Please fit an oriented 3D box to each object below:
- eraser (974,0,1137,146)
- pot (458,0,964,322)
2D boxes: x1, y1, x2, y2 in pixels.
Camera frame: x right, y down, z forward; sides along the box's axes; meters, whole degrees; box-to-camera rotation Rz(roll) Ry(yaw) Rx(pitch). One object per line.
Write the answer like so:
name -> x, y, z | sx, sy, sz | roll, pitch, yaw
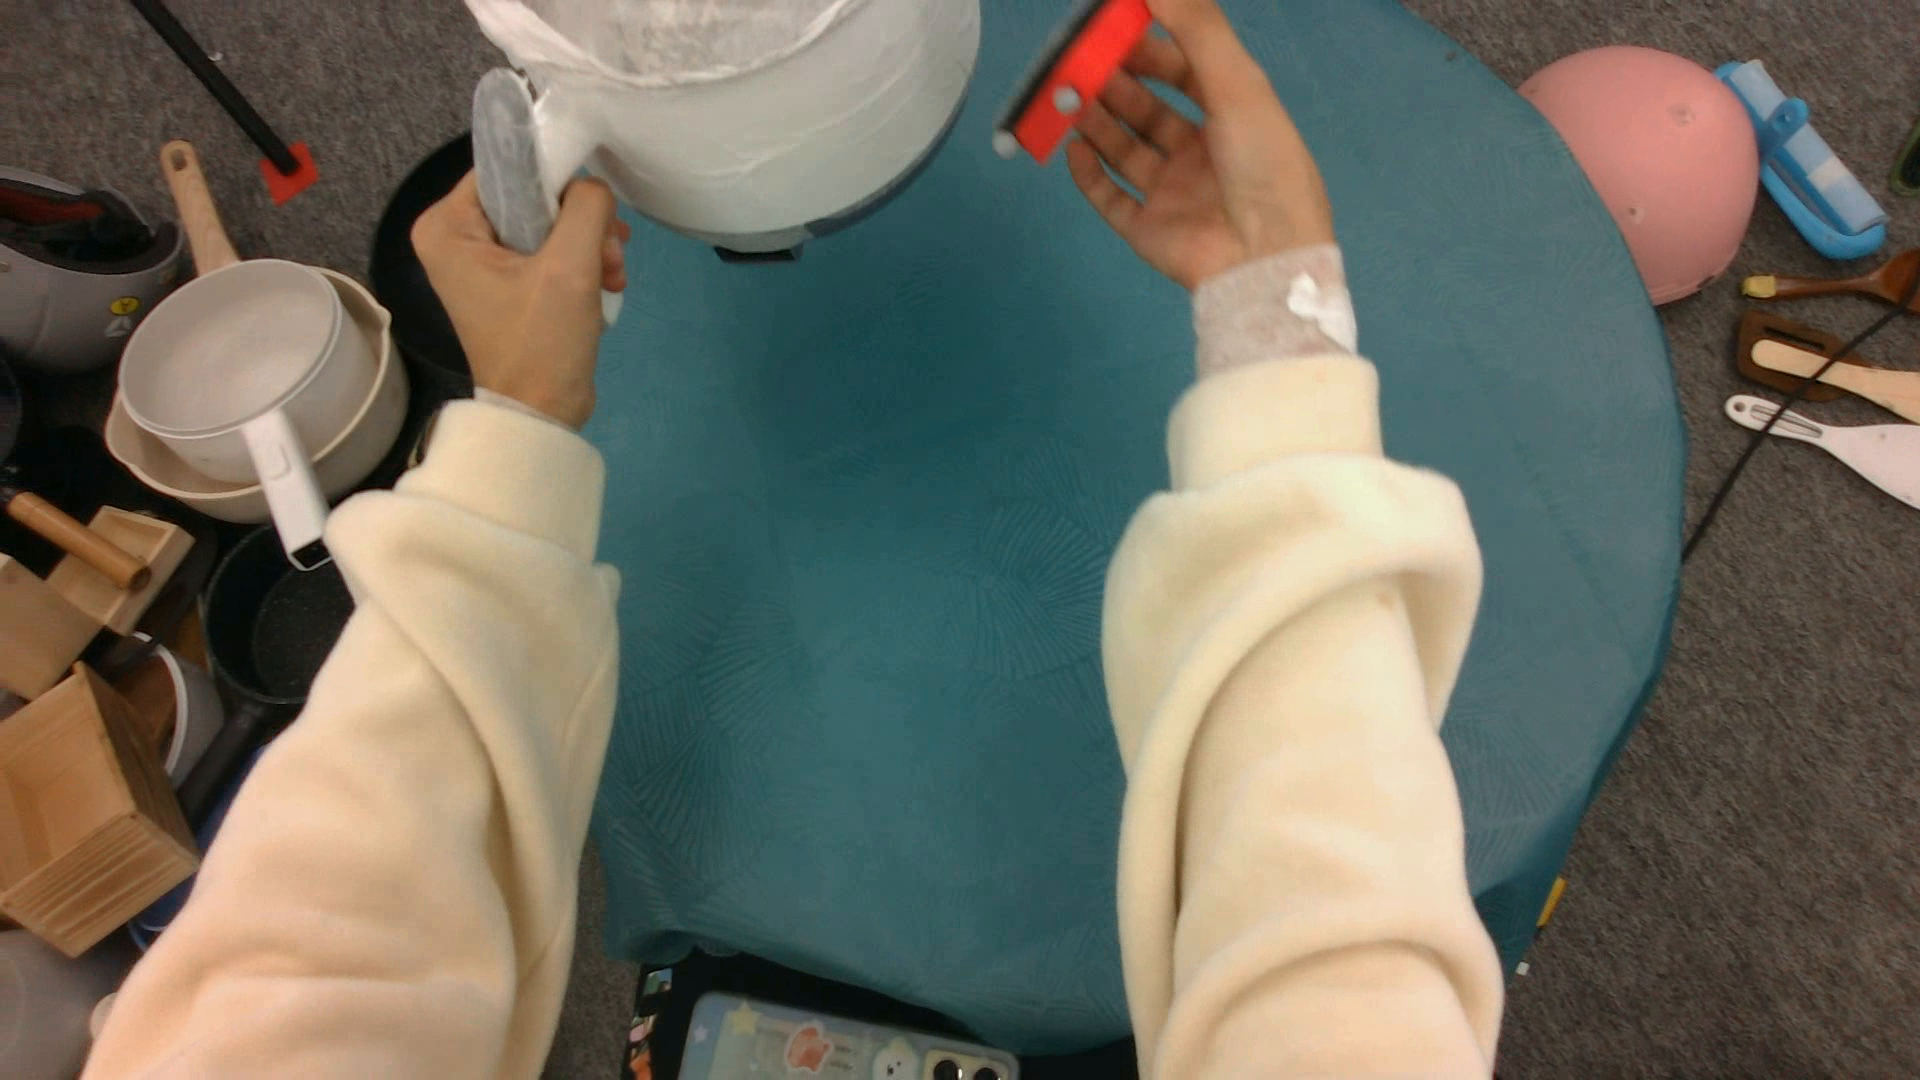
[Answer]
eraser -> 0.049, -0.190, 0.482 | 0.023, 0.059, 0.108 | 38, 71, -7
pot -> -0.104, -0.195, 0.519 | 0.179, 0.136, 0.234 | 30, 79, 14
